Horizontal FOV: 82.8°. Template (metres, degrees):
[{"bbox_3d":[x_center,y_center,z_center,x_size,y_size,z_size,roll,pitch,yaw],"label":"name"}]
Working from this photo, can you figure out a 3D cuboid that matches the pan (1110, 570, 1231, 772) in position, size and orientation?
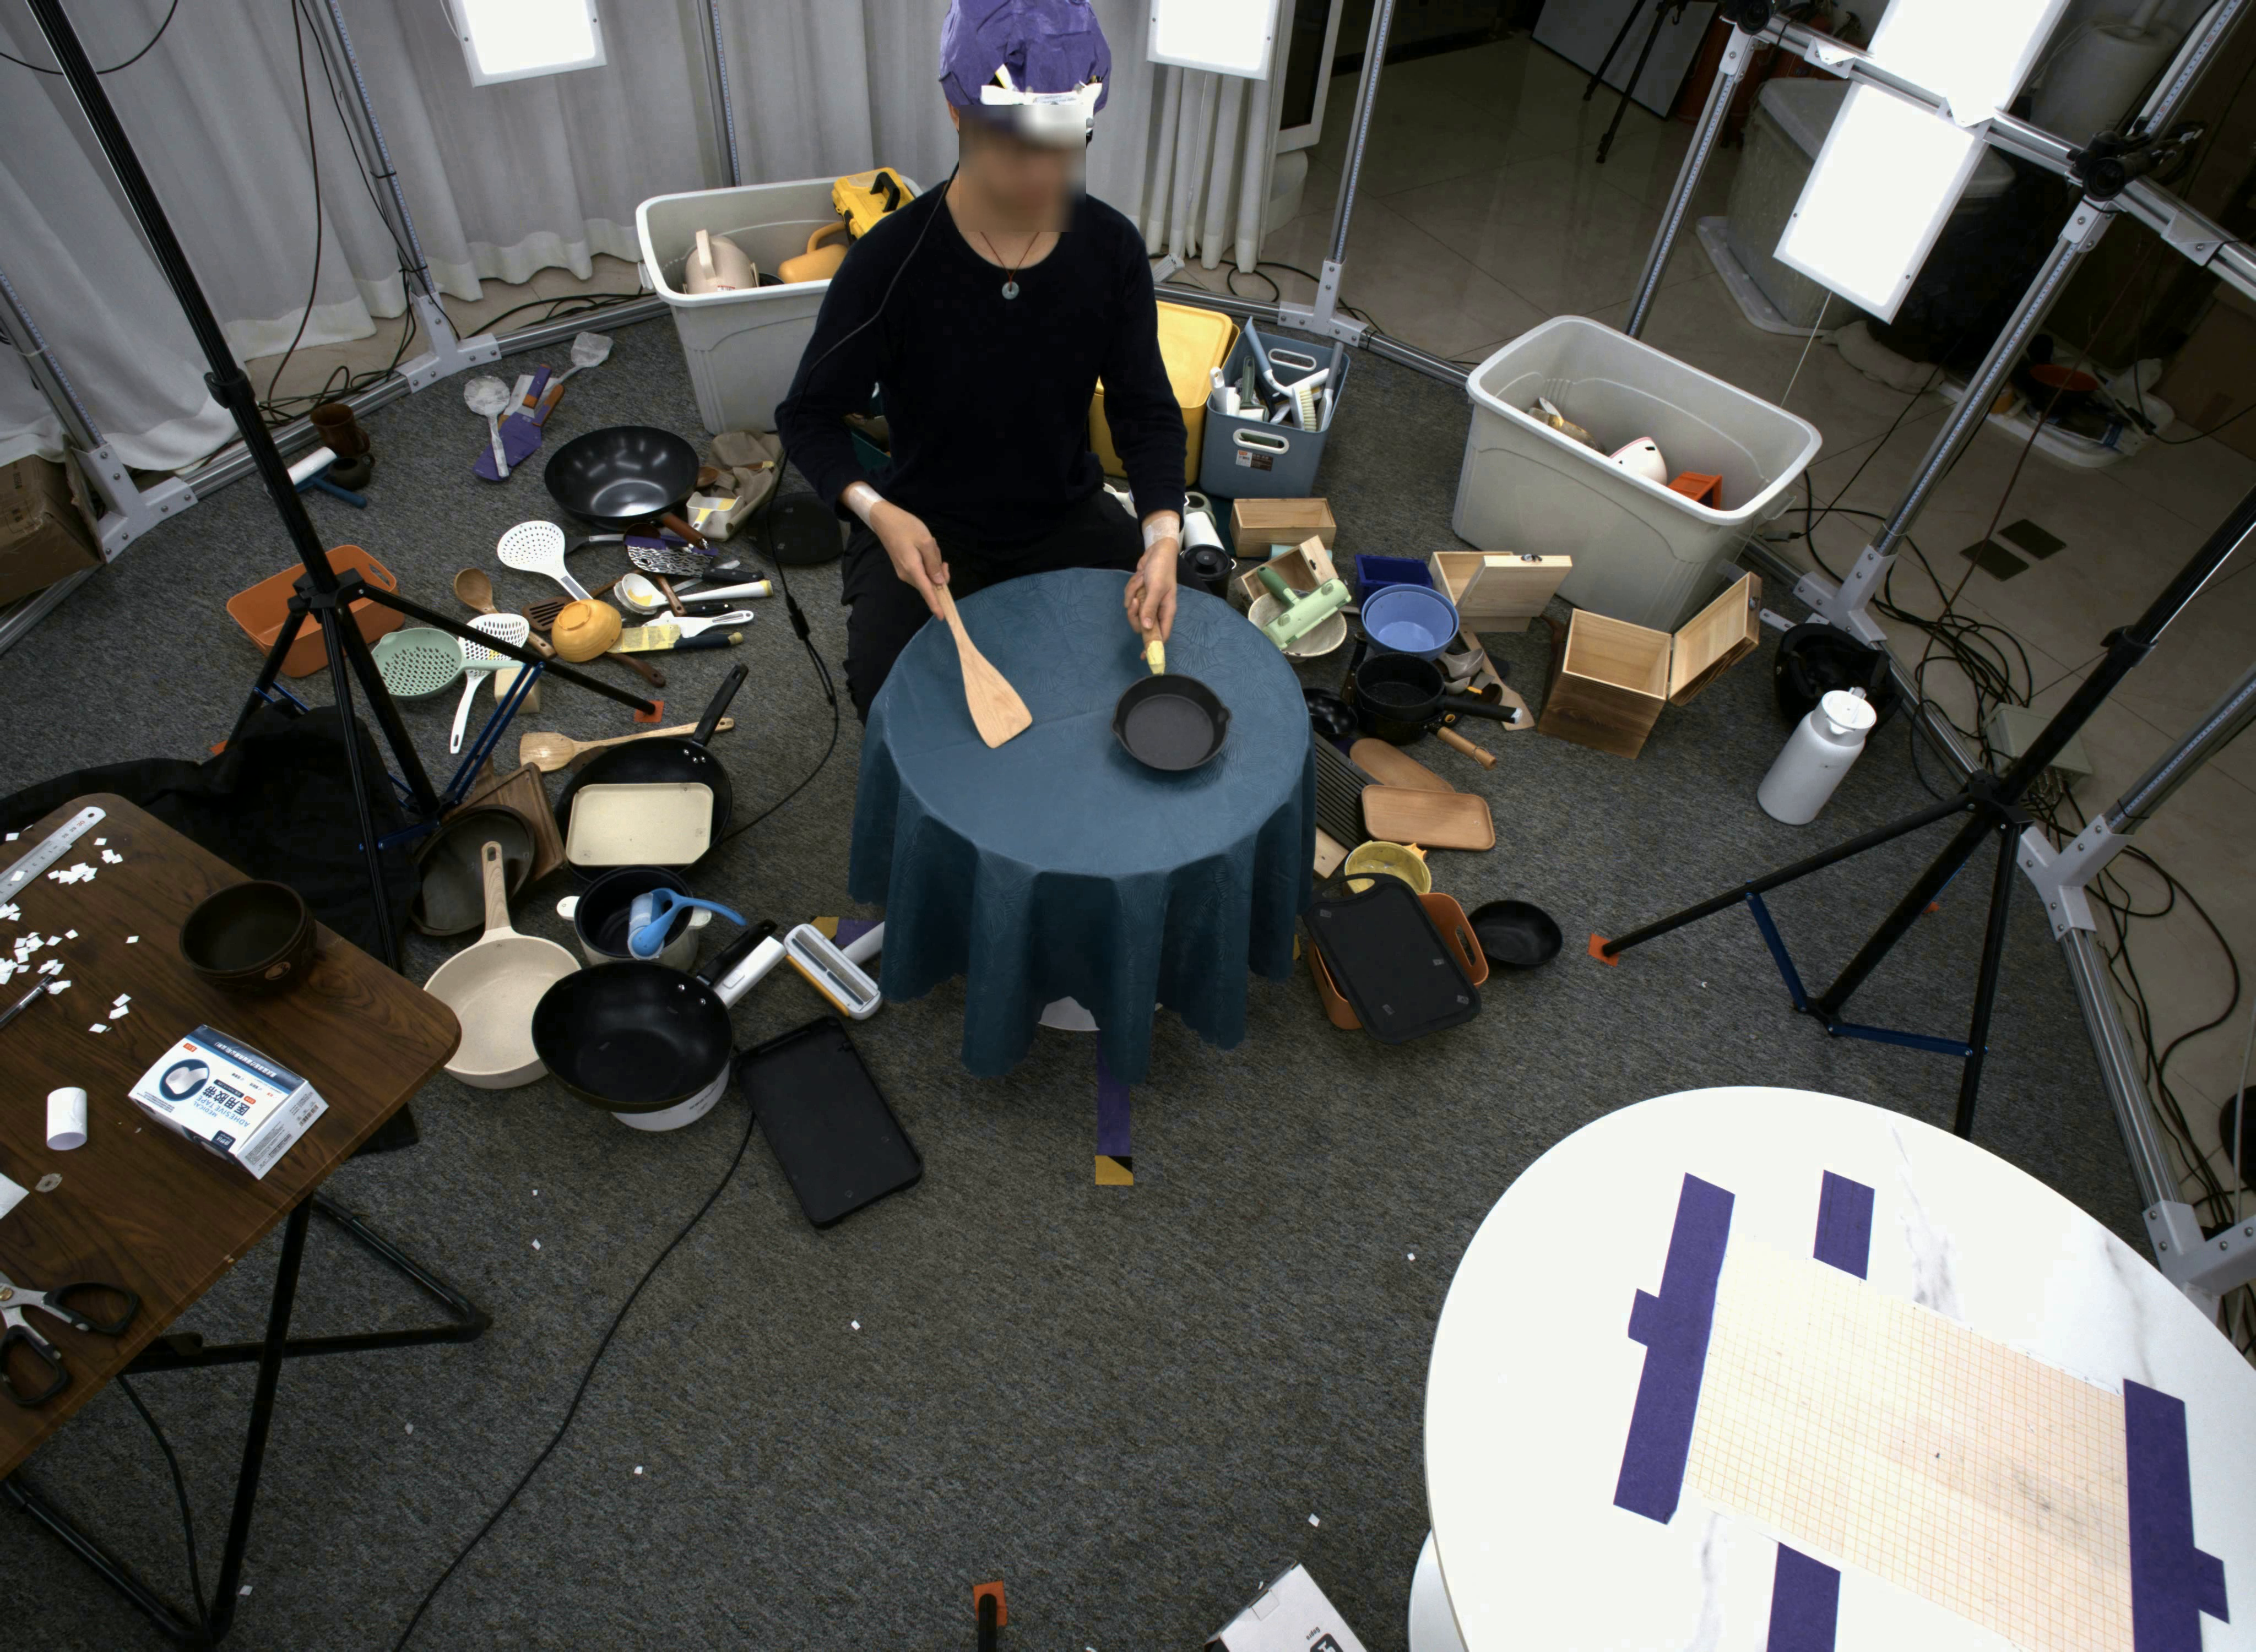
[{"bbox_3d":[0.046,-0.216,1.792,0.169,0.048,0.331,-5,62,-8],"label":"pan"}]

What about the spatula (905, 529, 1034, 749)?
[{"bbox_3d":[-0.228,-0.264,1.777,0.080,0.016,0.329,-24,86,-21],"label":"spatula"}]
